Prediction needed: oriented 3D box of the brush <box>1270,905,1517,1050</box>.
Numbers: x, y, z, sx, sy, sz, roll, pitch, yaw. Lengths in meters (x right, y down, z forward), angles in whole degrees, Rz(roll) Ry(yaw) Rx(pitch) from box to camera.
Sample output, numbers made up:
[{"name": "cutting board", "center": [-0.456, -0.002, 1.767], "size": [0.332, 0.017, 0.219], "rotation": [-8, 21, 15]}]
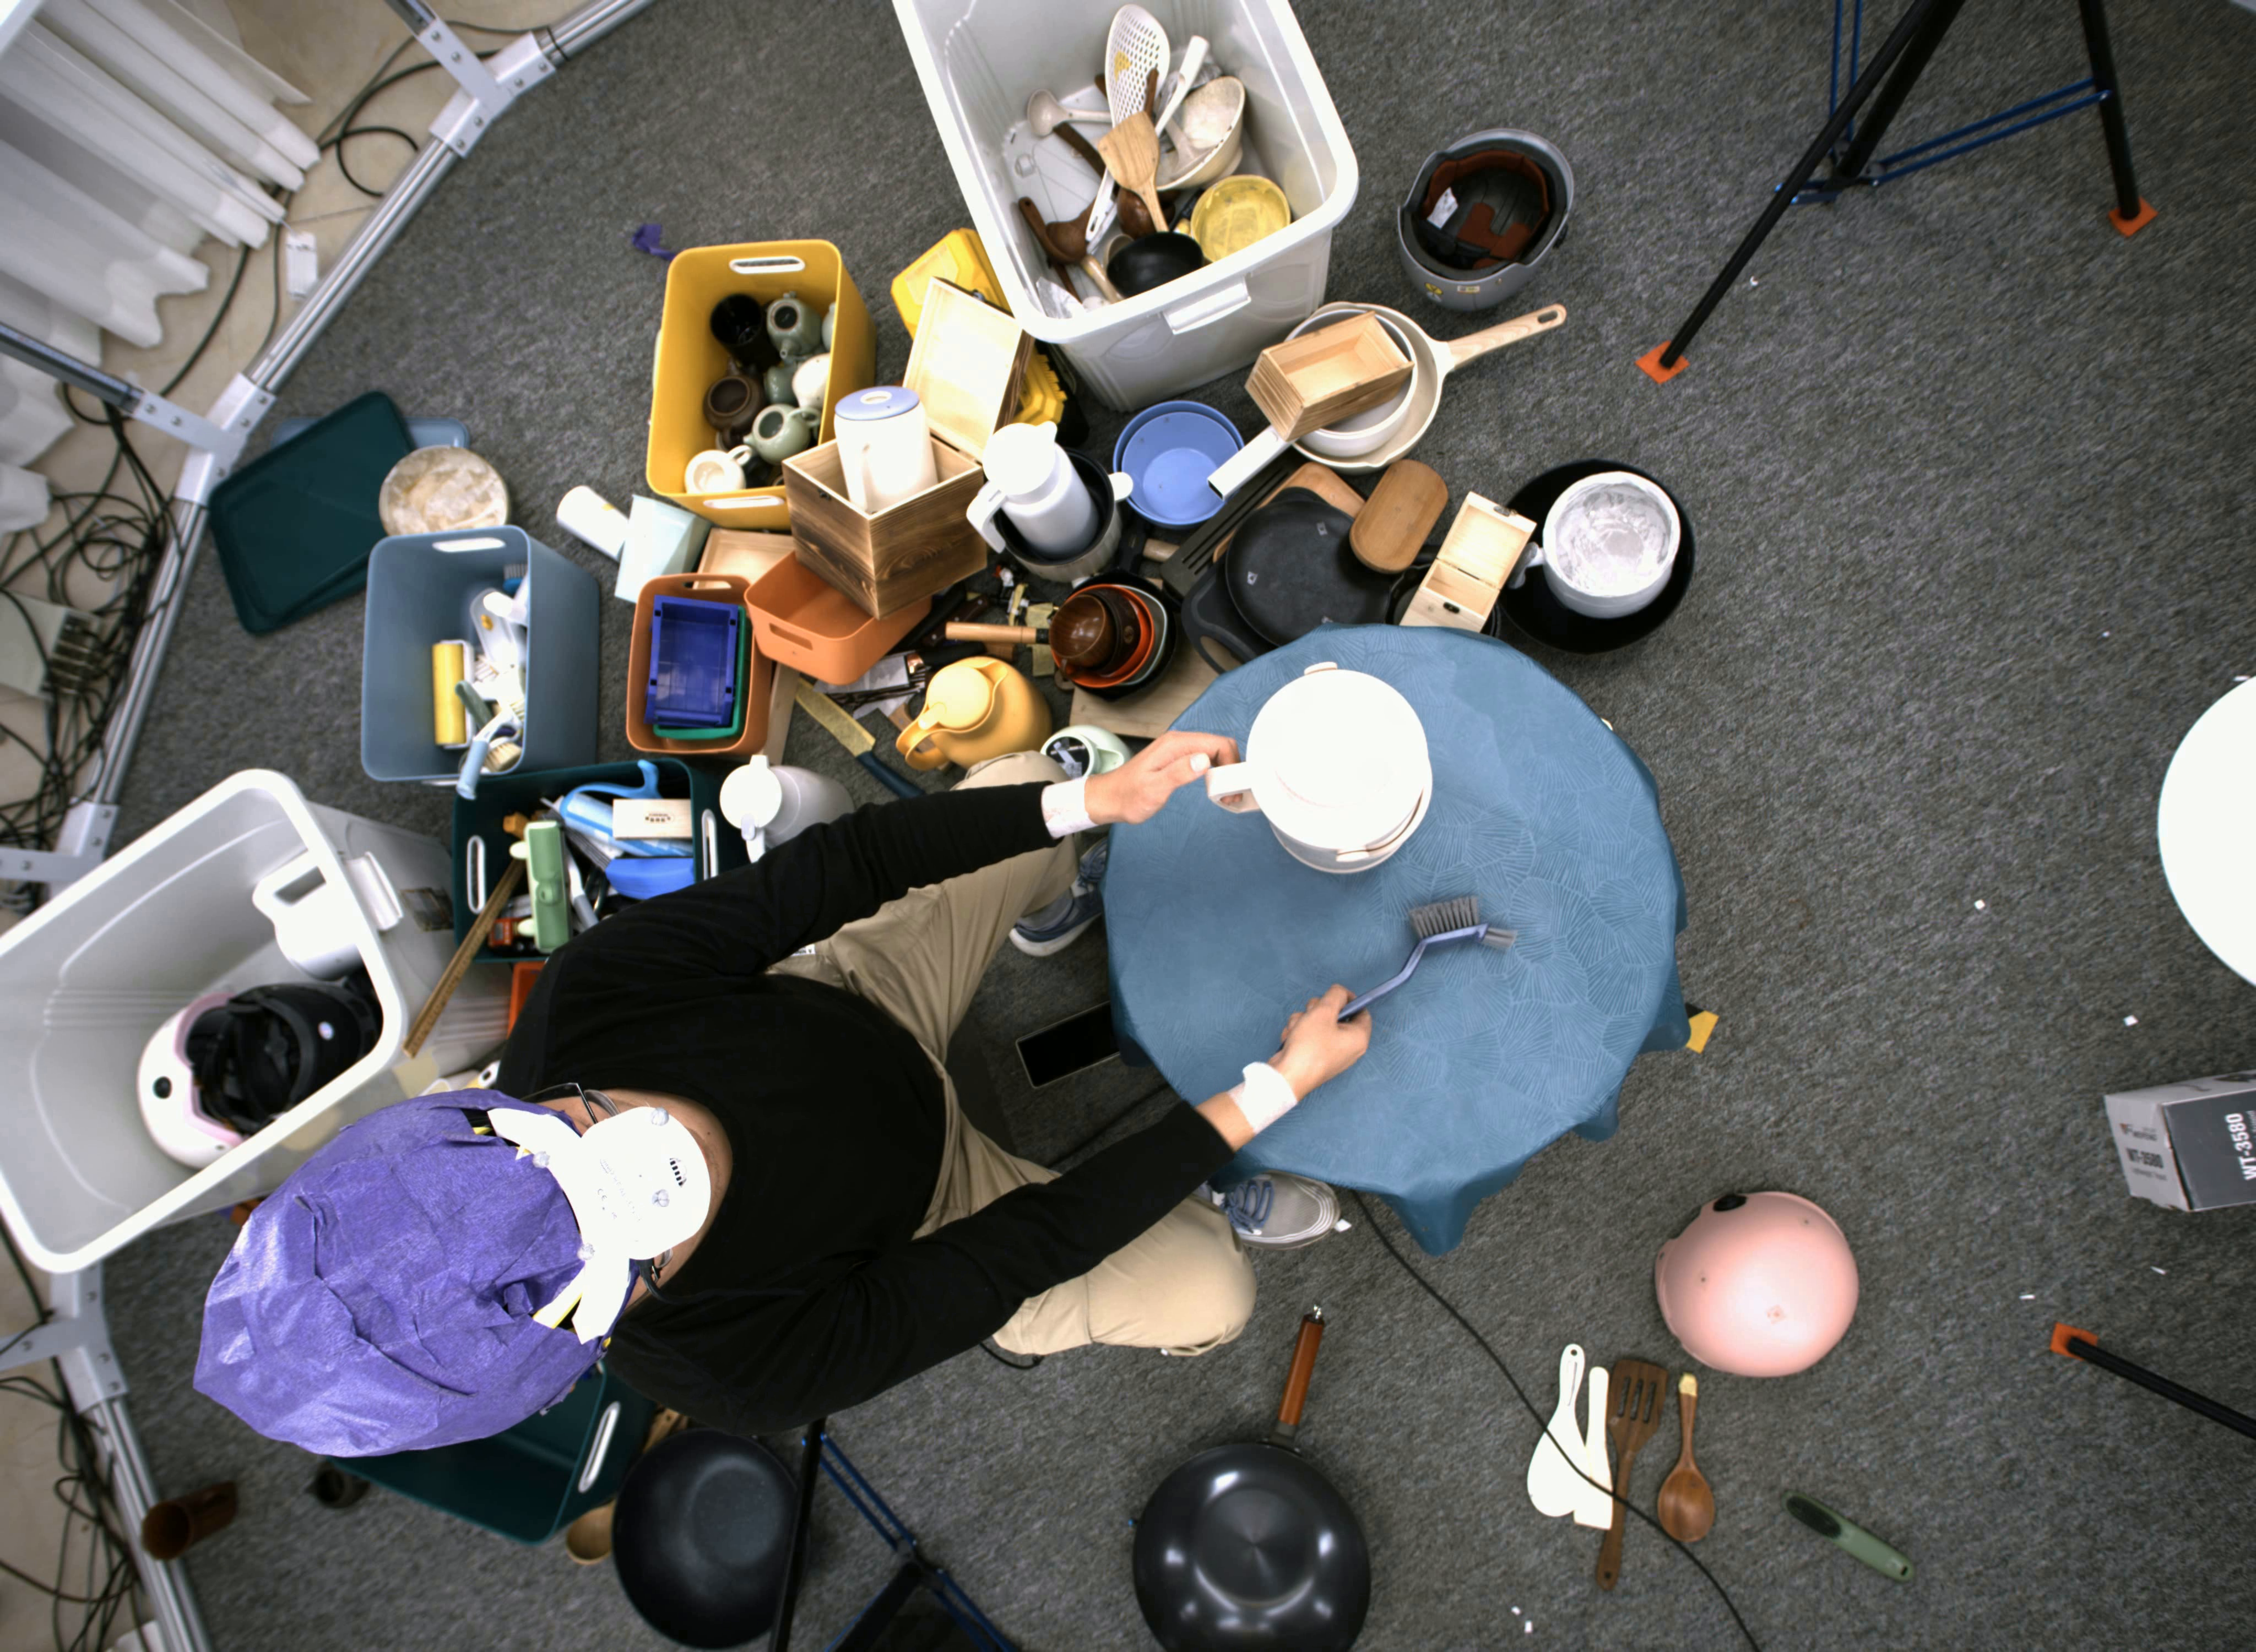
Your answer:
[{"name": "brush", "center": [0.268, 0.165, 1.398], "size": [0.270, 0.034, 0.095], "rotation": [-35, 77, -14]}]

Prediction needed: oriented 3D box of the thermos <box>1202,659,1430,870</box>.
[{"name": "thermos", "center": [0.180, -0.050, 1.282], "size": [0.208, 0.406, 0.174], "rotation": [-10, 84, 8]}]
